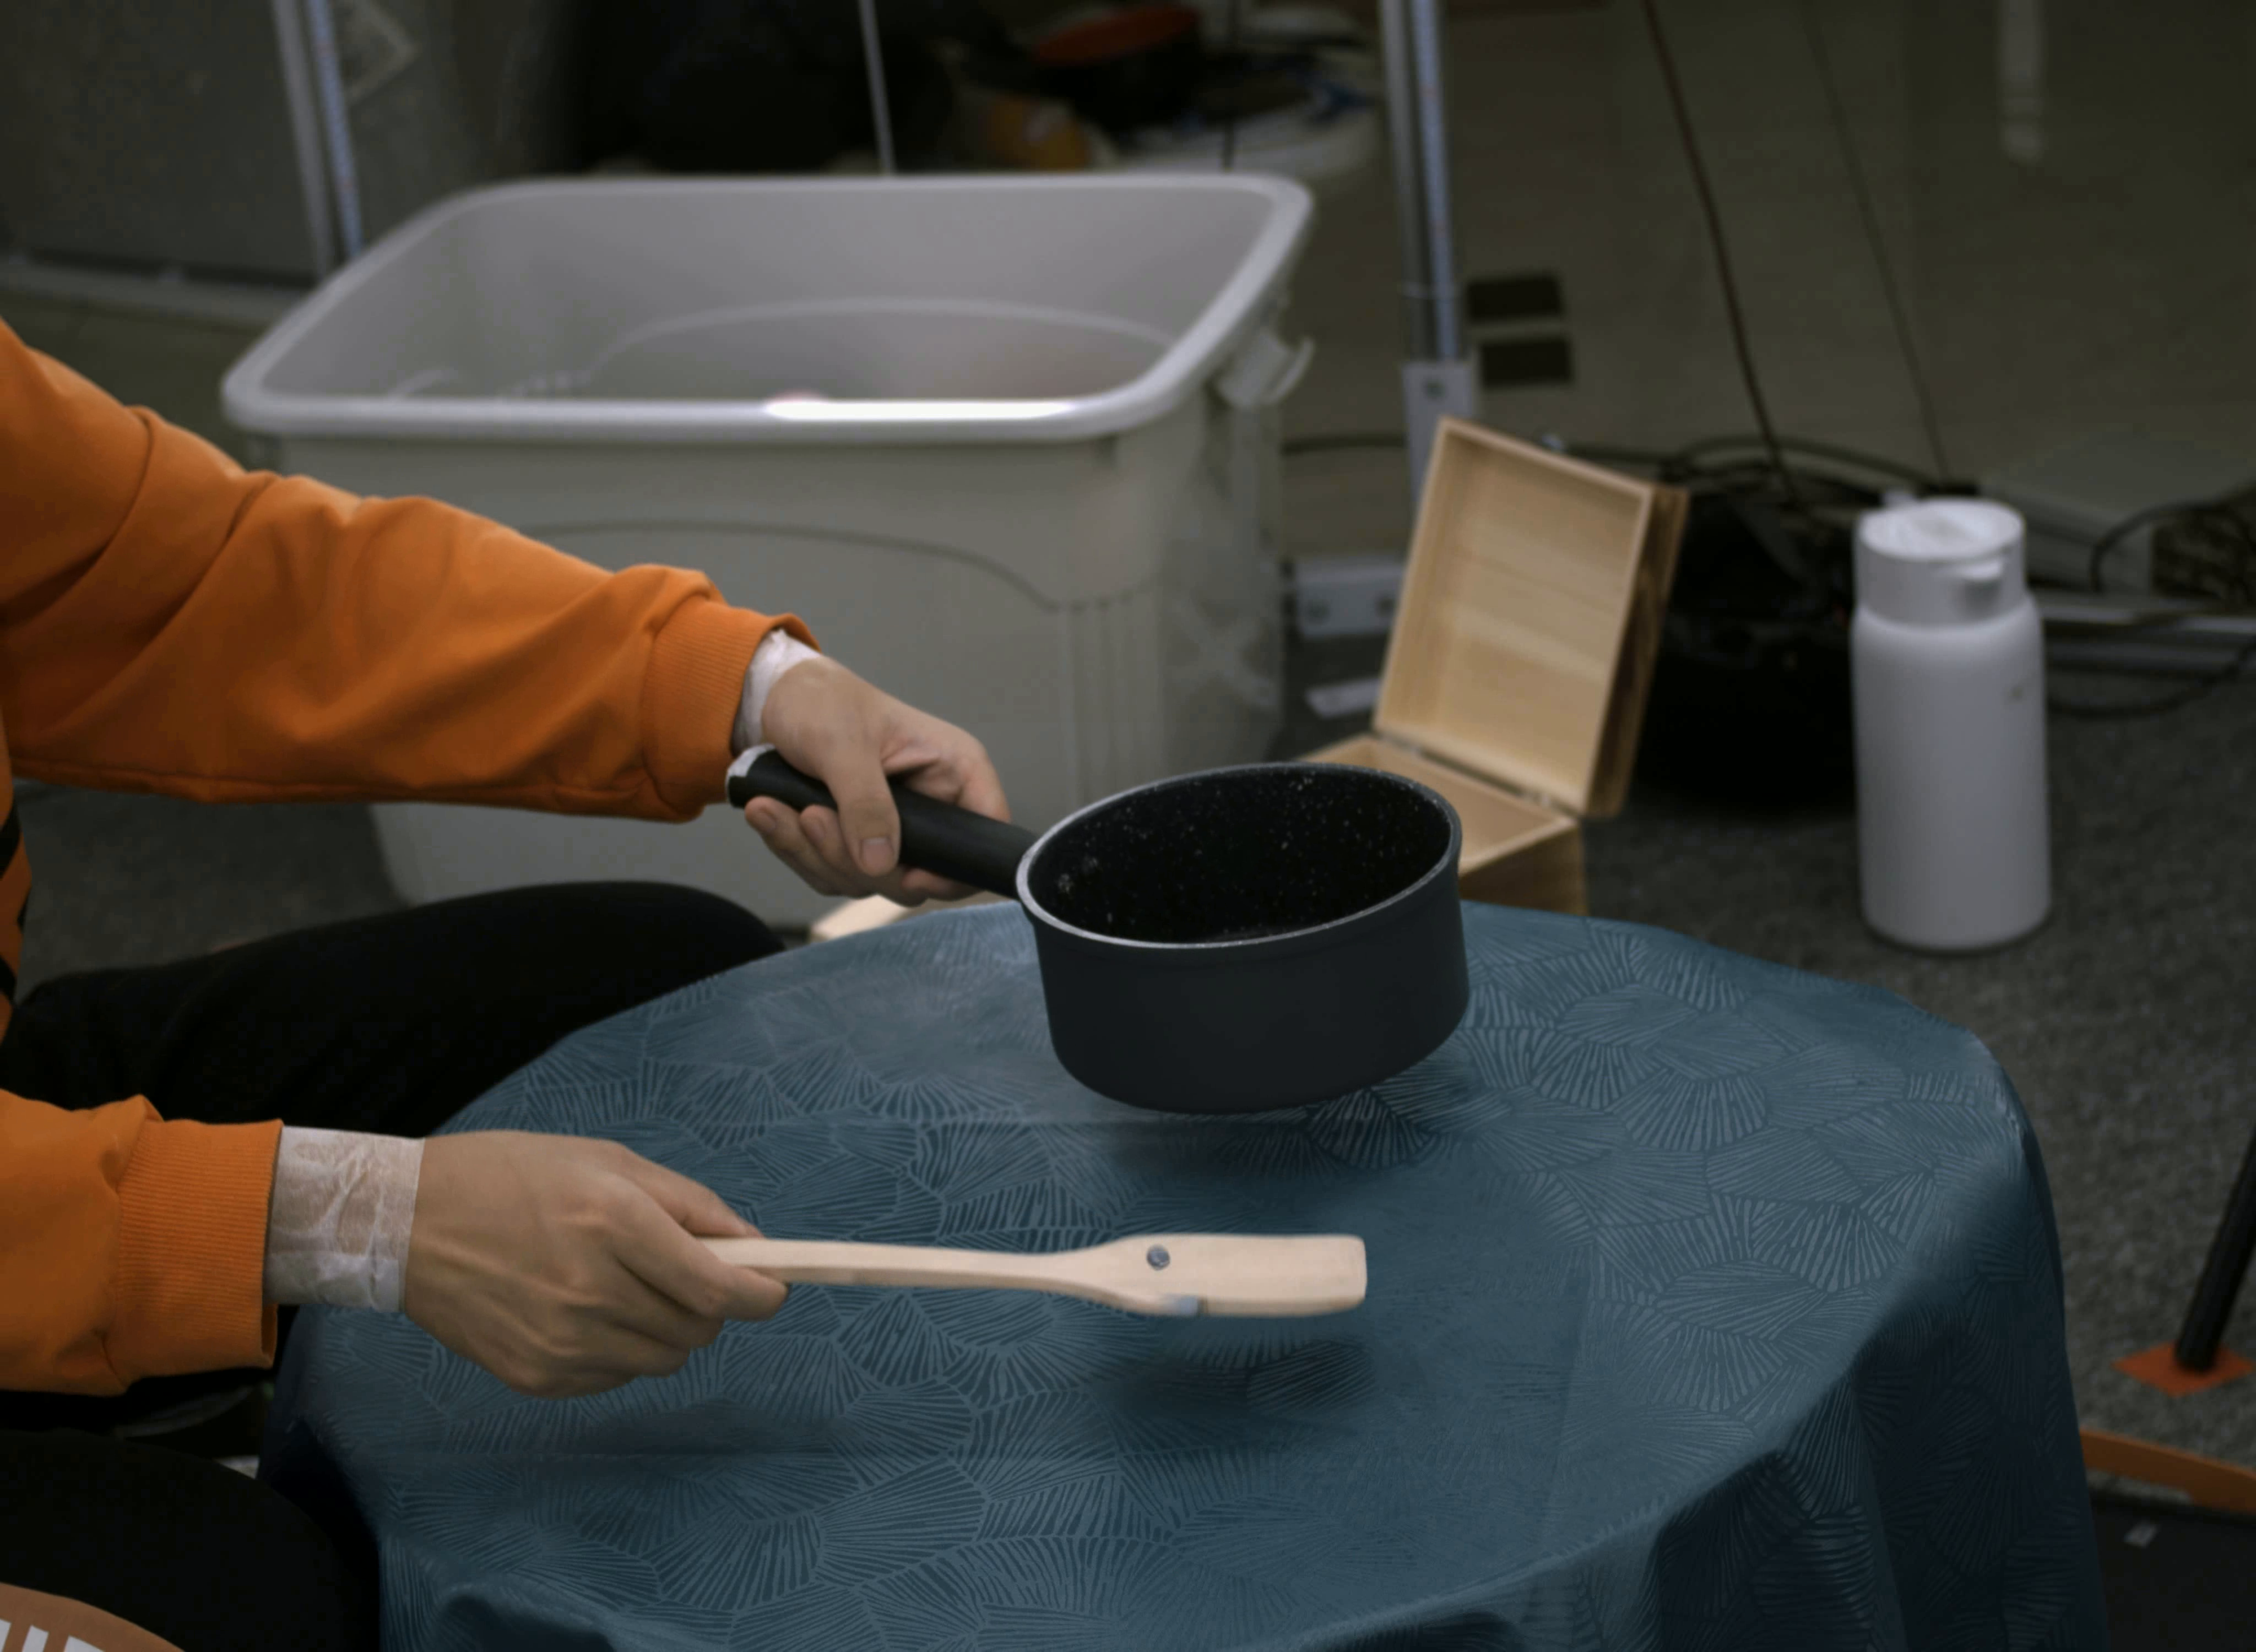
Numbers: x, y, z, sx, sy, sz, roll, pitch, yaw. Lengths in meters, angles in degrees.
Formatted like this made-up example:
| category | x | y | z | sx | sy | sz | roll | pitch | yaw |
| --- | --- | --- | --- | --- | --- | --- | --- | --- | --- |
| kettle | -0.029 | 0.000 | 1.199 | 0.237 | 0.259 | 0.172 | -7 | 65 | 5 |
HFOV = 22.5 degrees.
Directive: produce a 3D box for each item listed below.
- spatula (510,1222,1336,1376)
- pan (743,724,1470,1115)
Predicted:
| category | x | y | z | sx | sy | sz | roll | pitch | yaw |
| --- | --- | --- | --- | --- | --- | --- | --- | --- | --- |
| spatula | -0.073 | 0.163 | 1.999 | 0.292 | 0.011 | 0.071 | 6 | 23 | 2 |
| pan | -0.017 | 0.028 | 2.219 | 0.327 | 0.088 | 0.170 | 12 | 30 | 36 |
